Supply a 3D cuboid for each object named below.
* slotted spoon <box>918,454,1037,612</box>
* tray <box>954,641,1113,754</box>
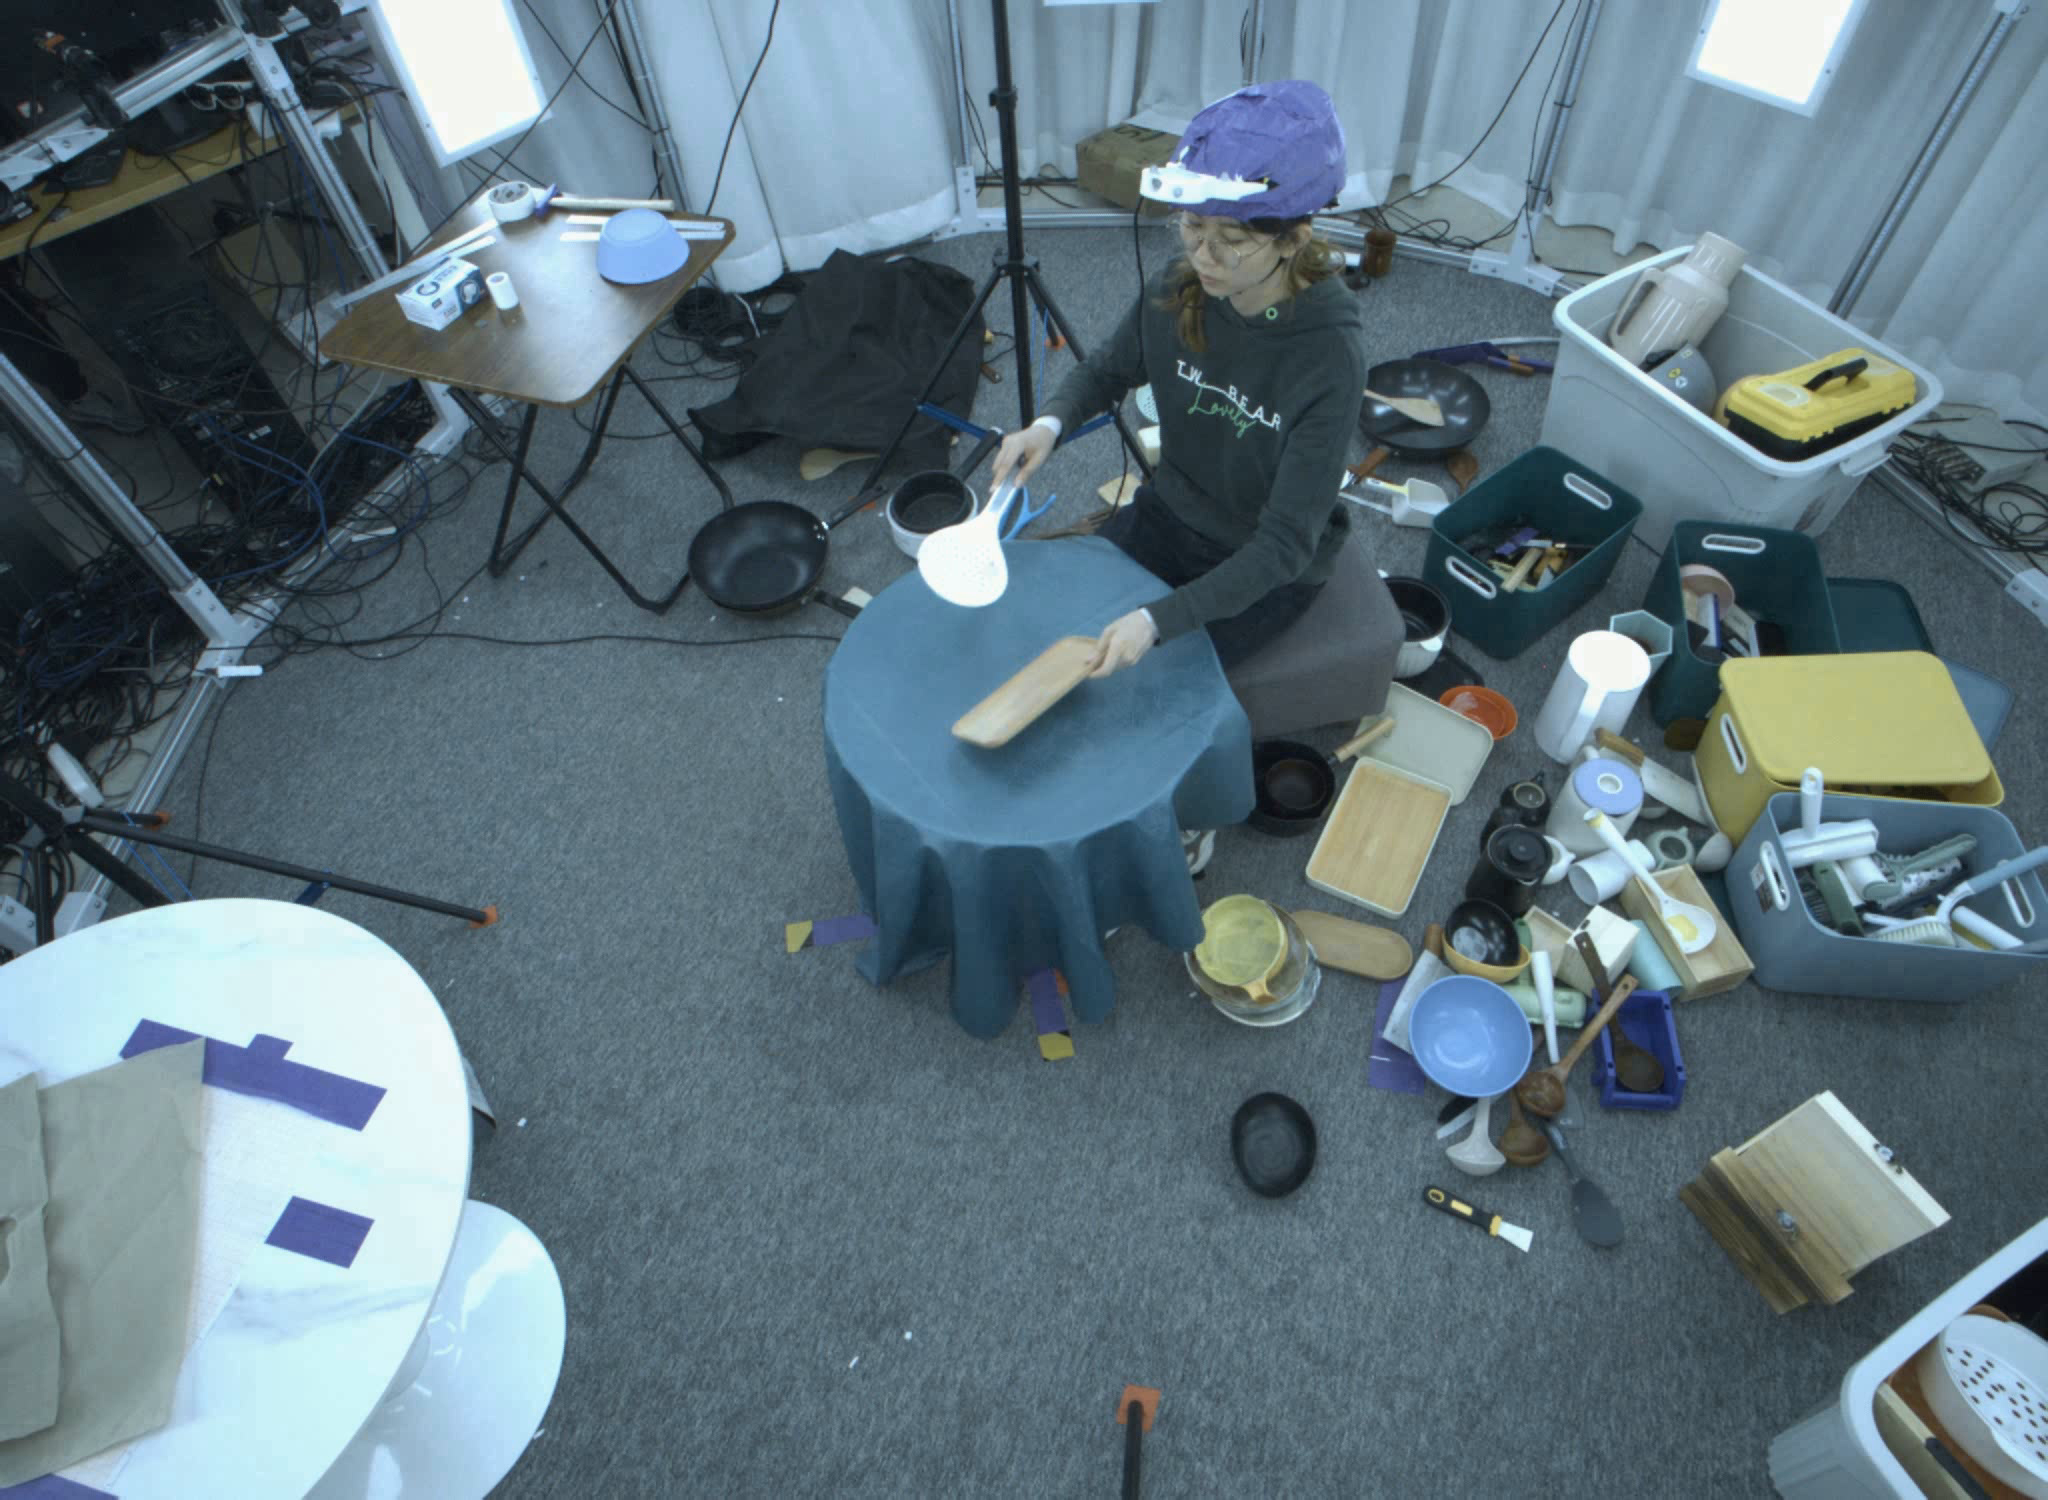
[{"bbox_3d":[-0.055,-0.337,1.854,0.137,0.045,0.349,30,60,-8],"label":"slotted spoon"},{"bbox_3d":[0.015,-0.078,1.783,0.252,0.023,0.127,-39,32,-21],"label":"tray"}]
